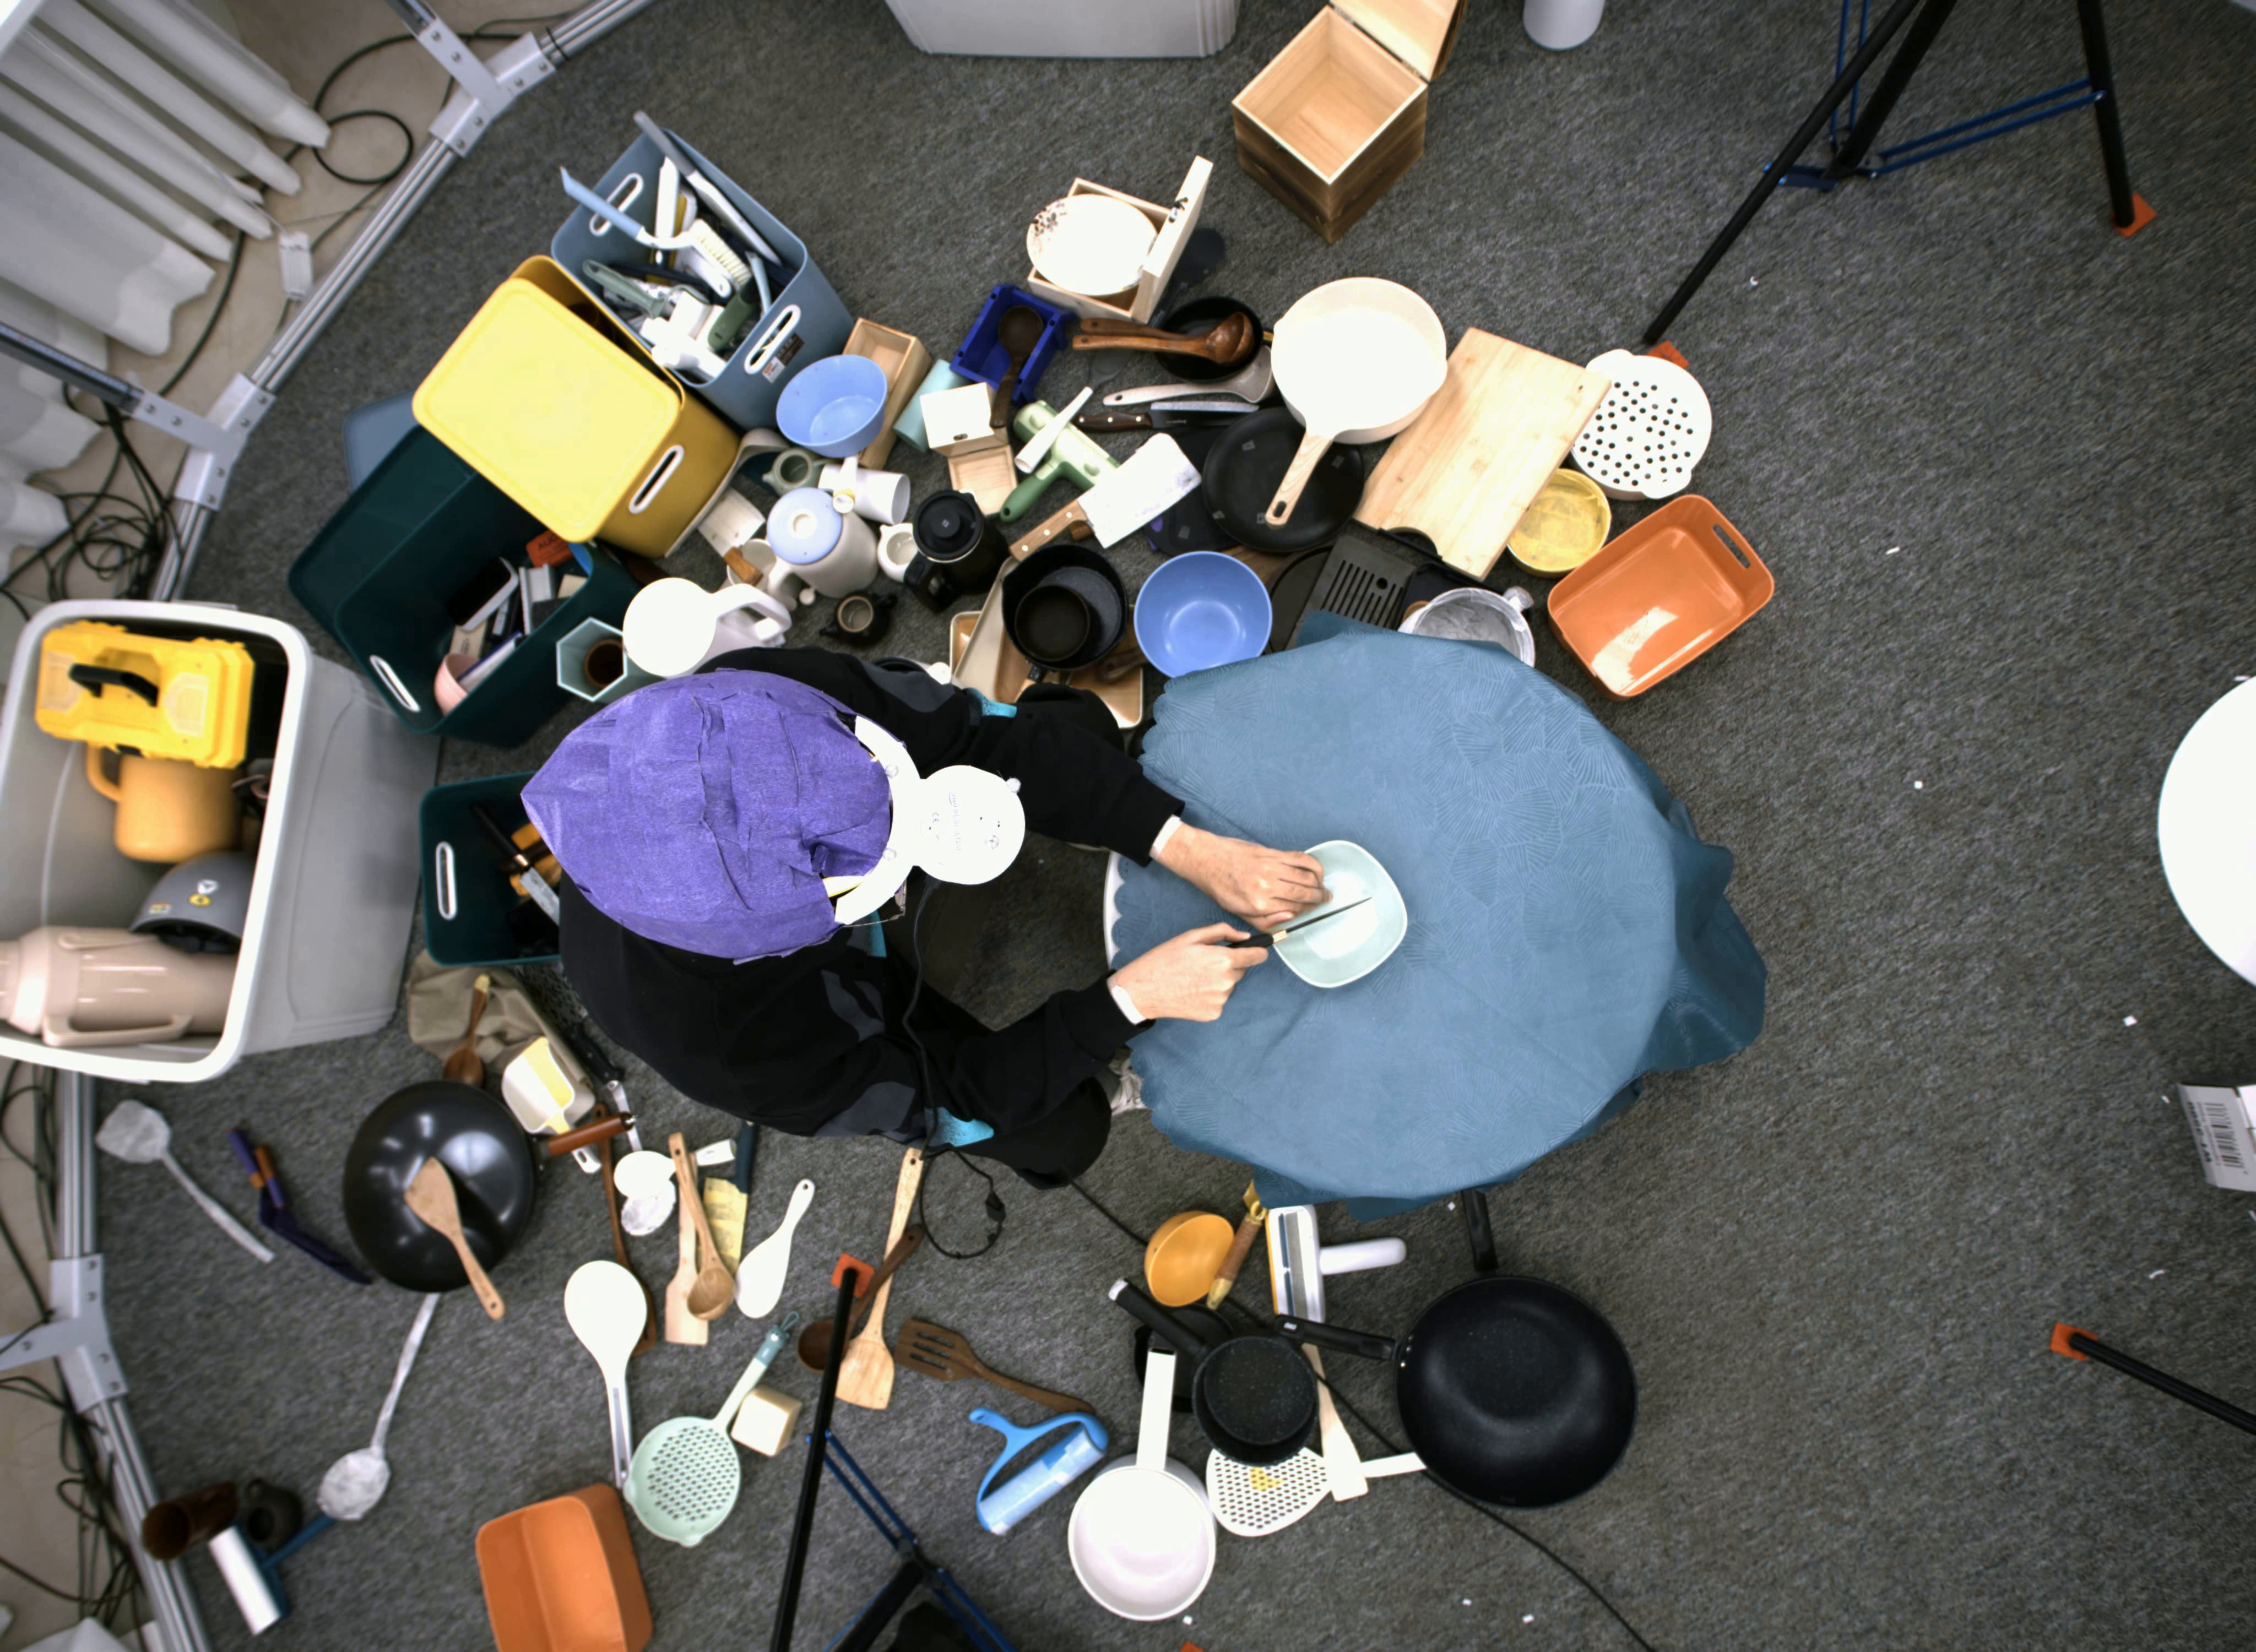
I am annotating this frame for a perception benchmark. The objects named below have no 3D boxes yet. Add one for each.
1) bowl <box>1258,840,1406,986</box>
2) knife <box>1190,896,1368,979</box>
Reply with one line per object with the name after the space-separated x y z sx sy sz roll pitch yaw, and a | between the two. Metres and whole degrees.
0.213 0.090 1.442 0.152 0.058 0.151 -1 88 10 | bowl
0.157 0.108 1.406 0.223 0.026 0.017 -20 88 -22 | knife
